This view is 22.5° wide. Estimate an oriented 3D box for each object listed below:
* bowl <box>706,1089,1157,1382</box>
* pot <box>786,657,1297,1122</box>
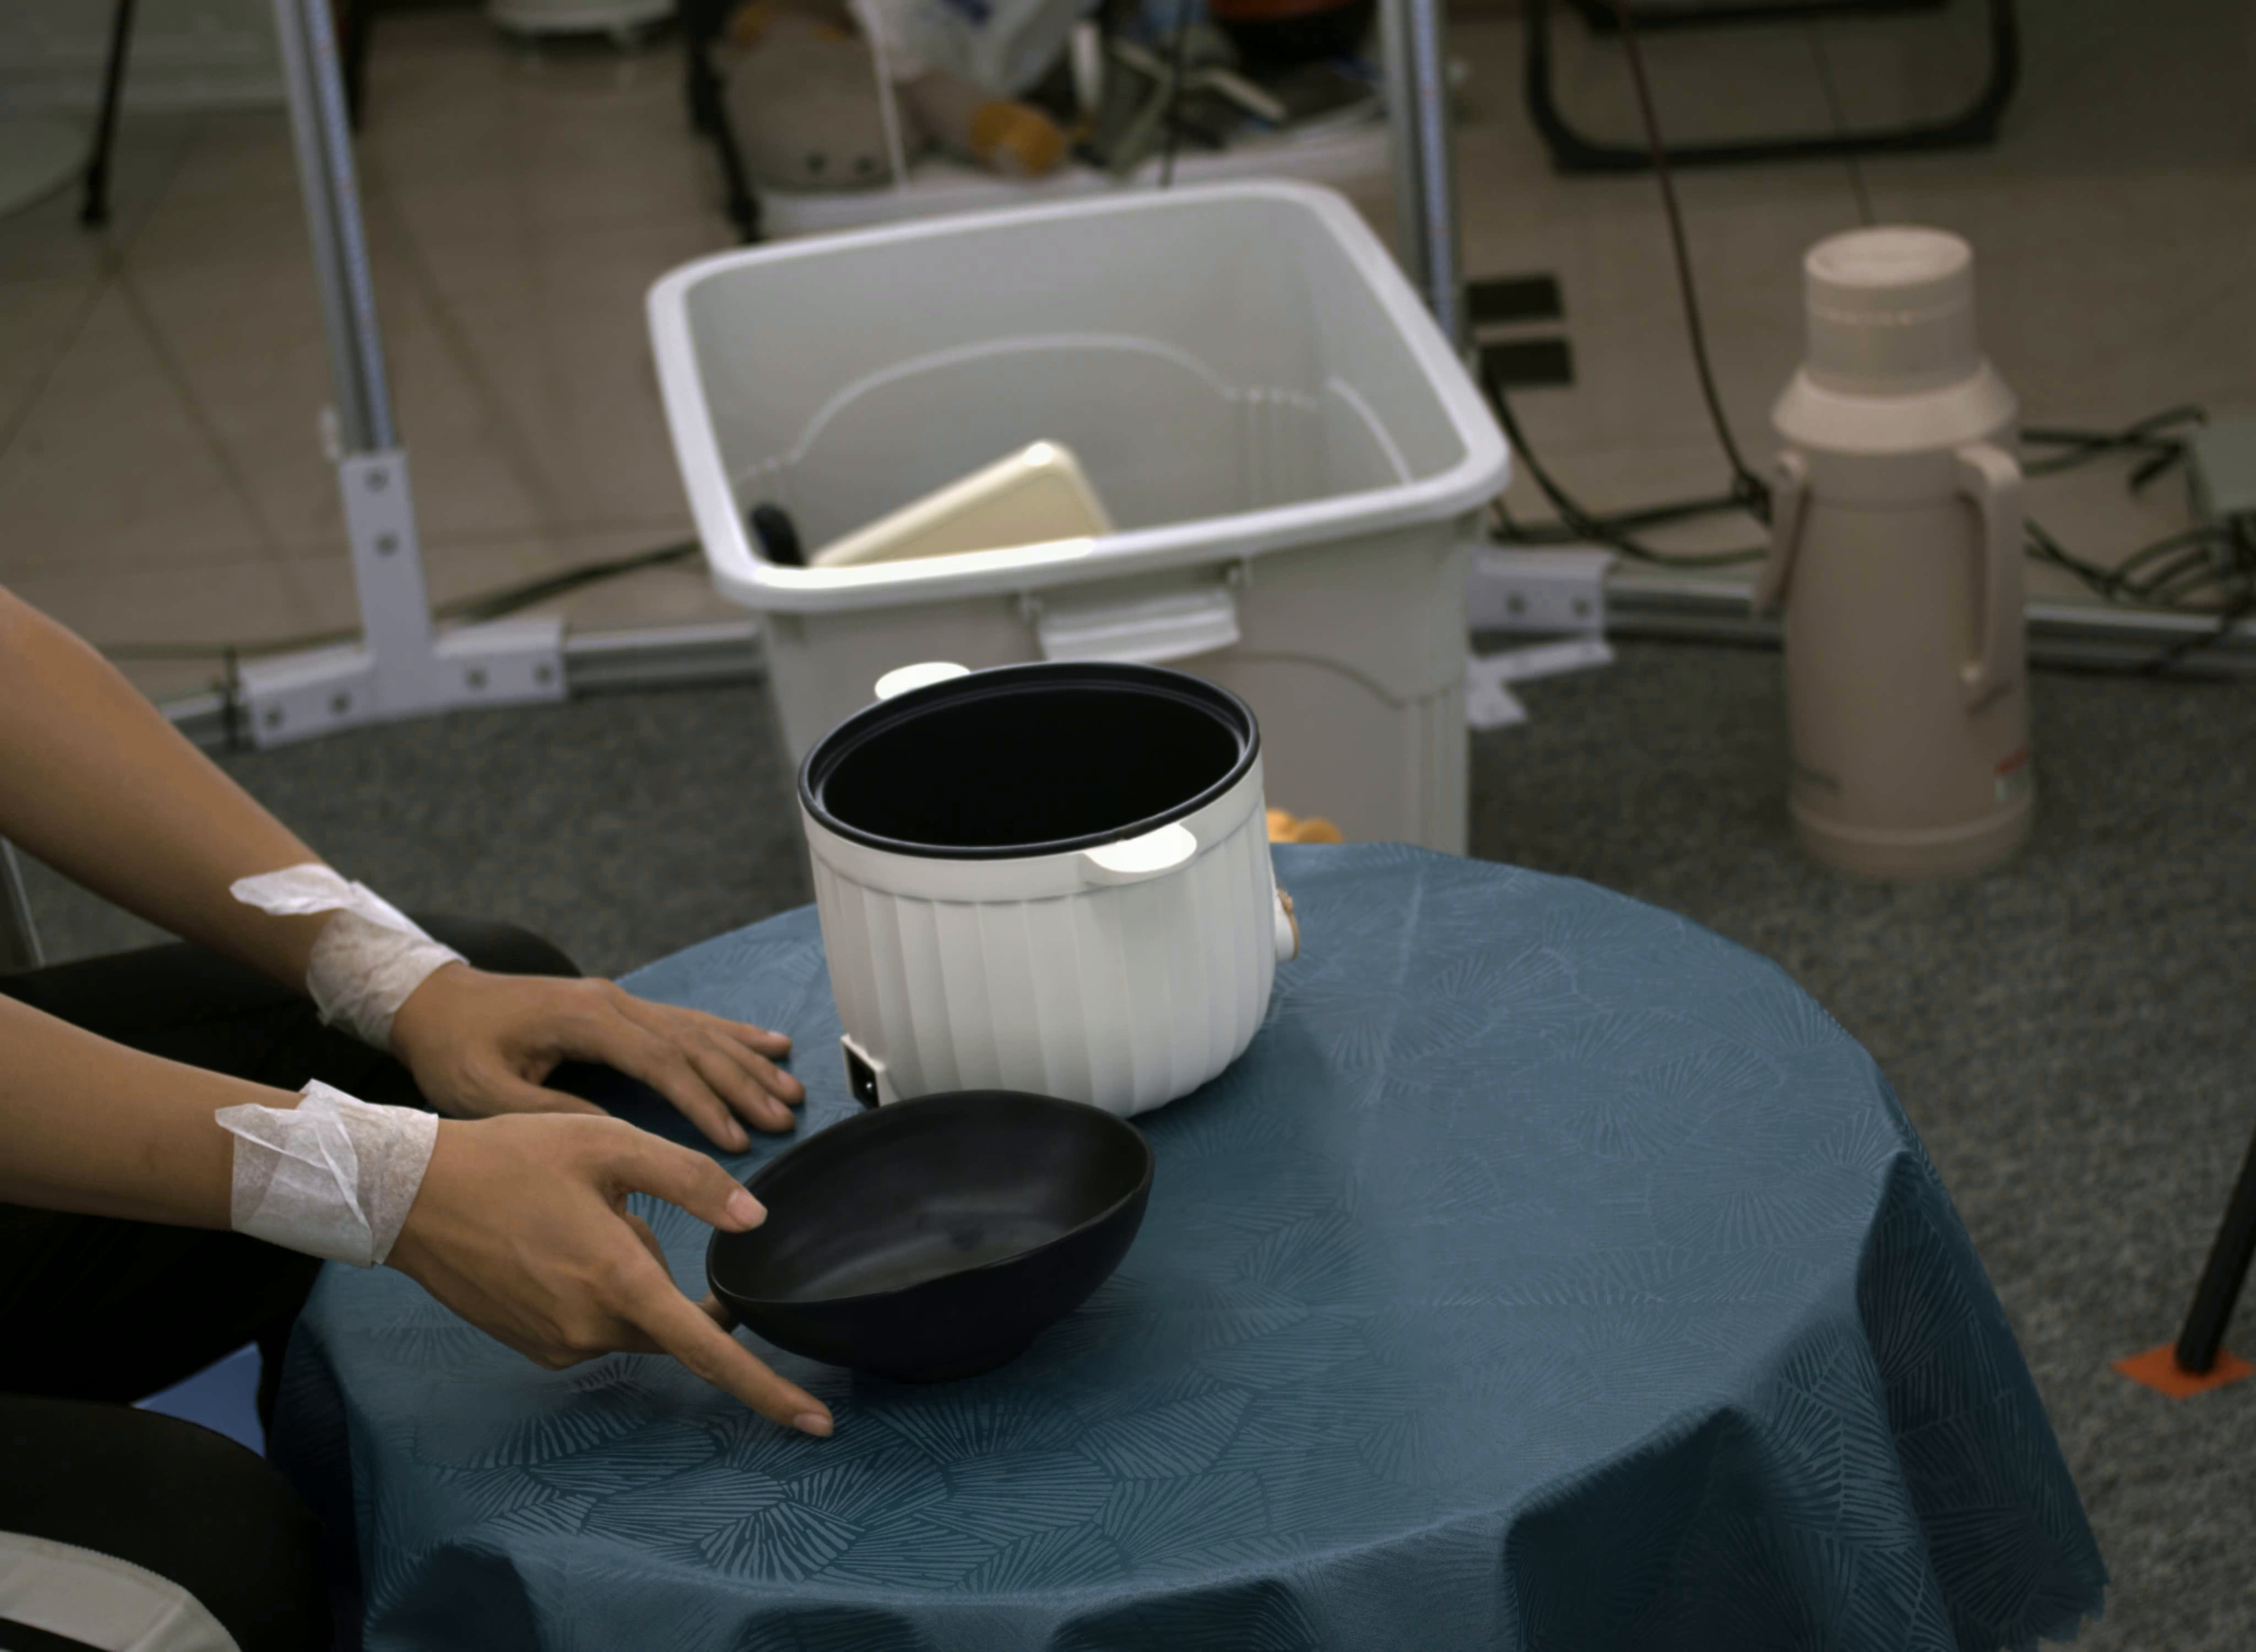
[{"bbox_3d":[-0.067,0.157,2.052,0.169,0.068,0.136,-18,26,-22],"label":"bowl"},{"bbox_3d":[-0.028,0.029,2.228,0.189,0.145,0.237,-21,29,-20],"label":"pot"}]
